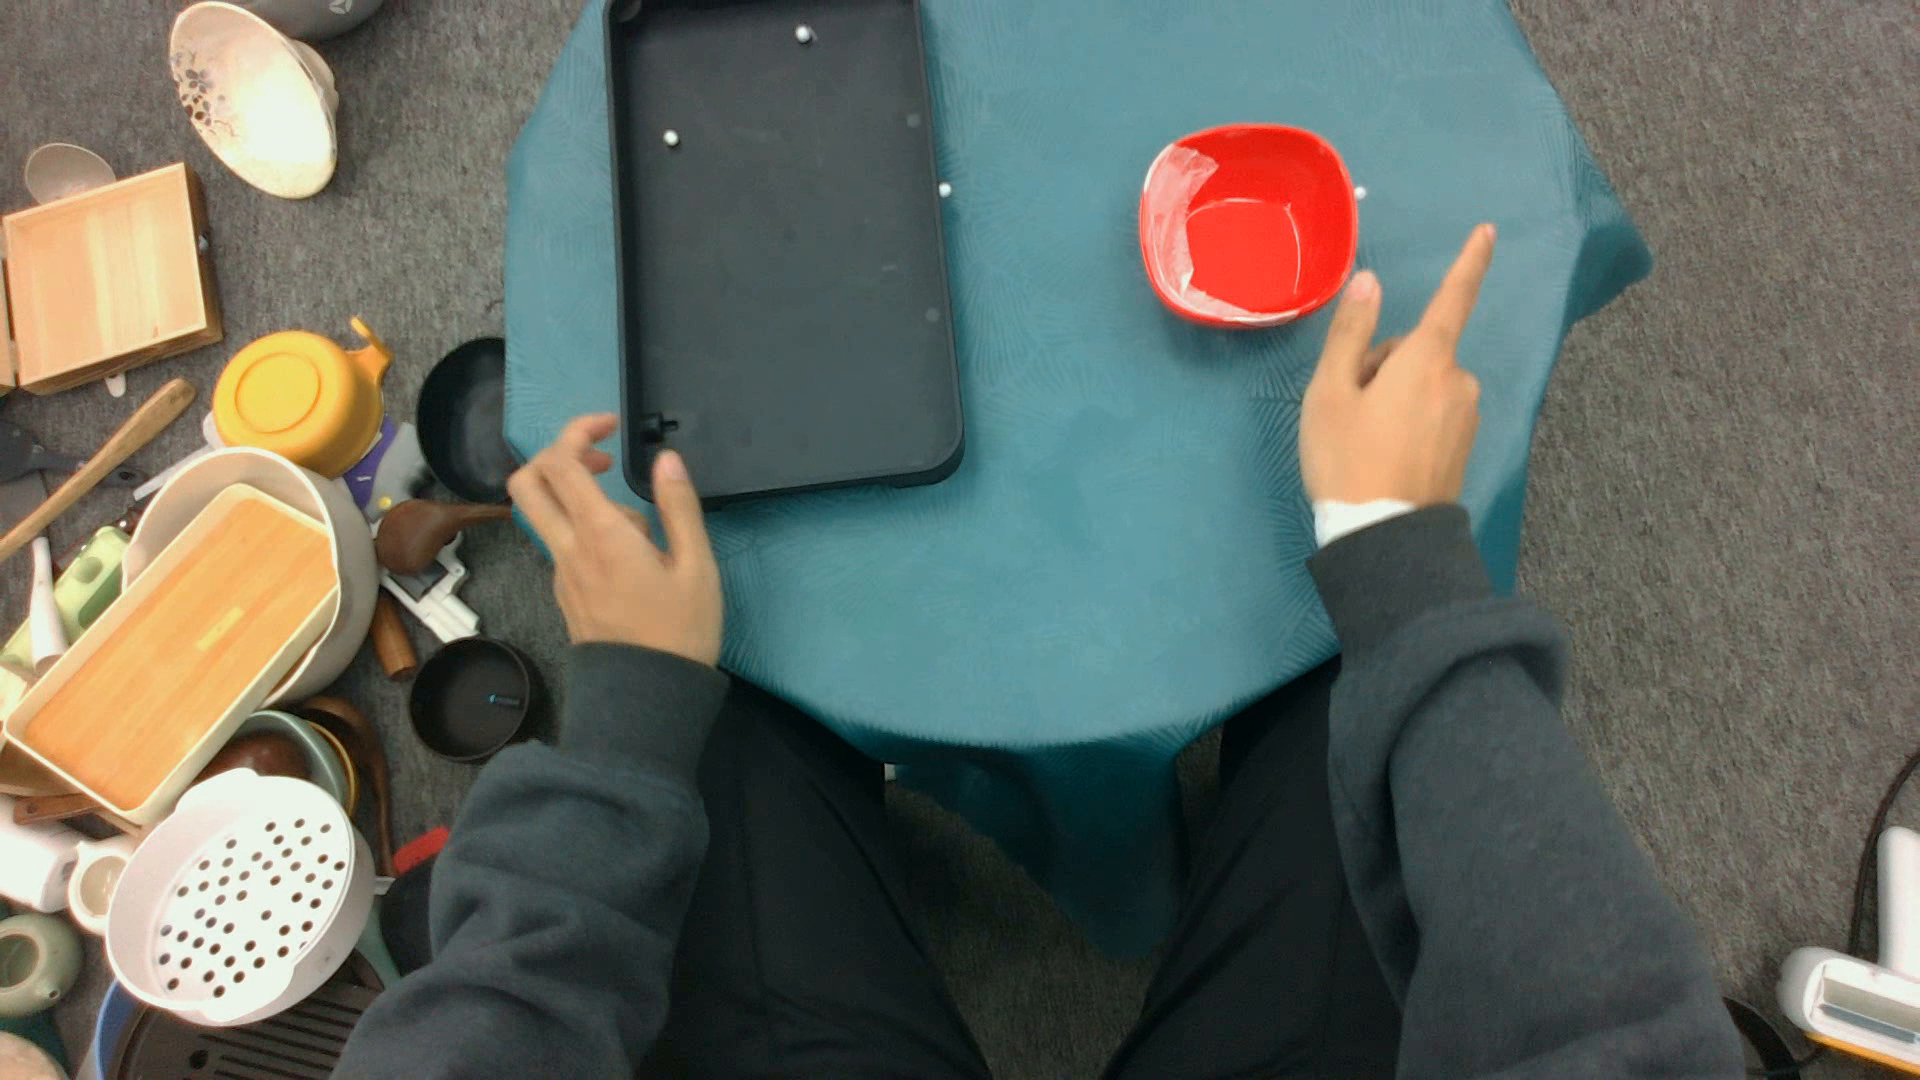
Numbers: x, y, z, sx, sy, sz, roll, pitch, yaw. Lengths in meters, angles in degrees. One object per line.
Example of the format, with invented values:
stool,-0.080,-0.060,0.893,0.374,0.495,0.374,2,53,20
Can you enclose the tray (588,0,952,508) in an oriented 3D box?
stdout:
tray,-0.108,-0.179,0.768,0.184,0.037,0.318,-7,74,4

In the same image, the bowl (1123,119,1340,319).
bowl,0.142,-0.162,0.733,0.119,0.051,0.119,-1,74,4
